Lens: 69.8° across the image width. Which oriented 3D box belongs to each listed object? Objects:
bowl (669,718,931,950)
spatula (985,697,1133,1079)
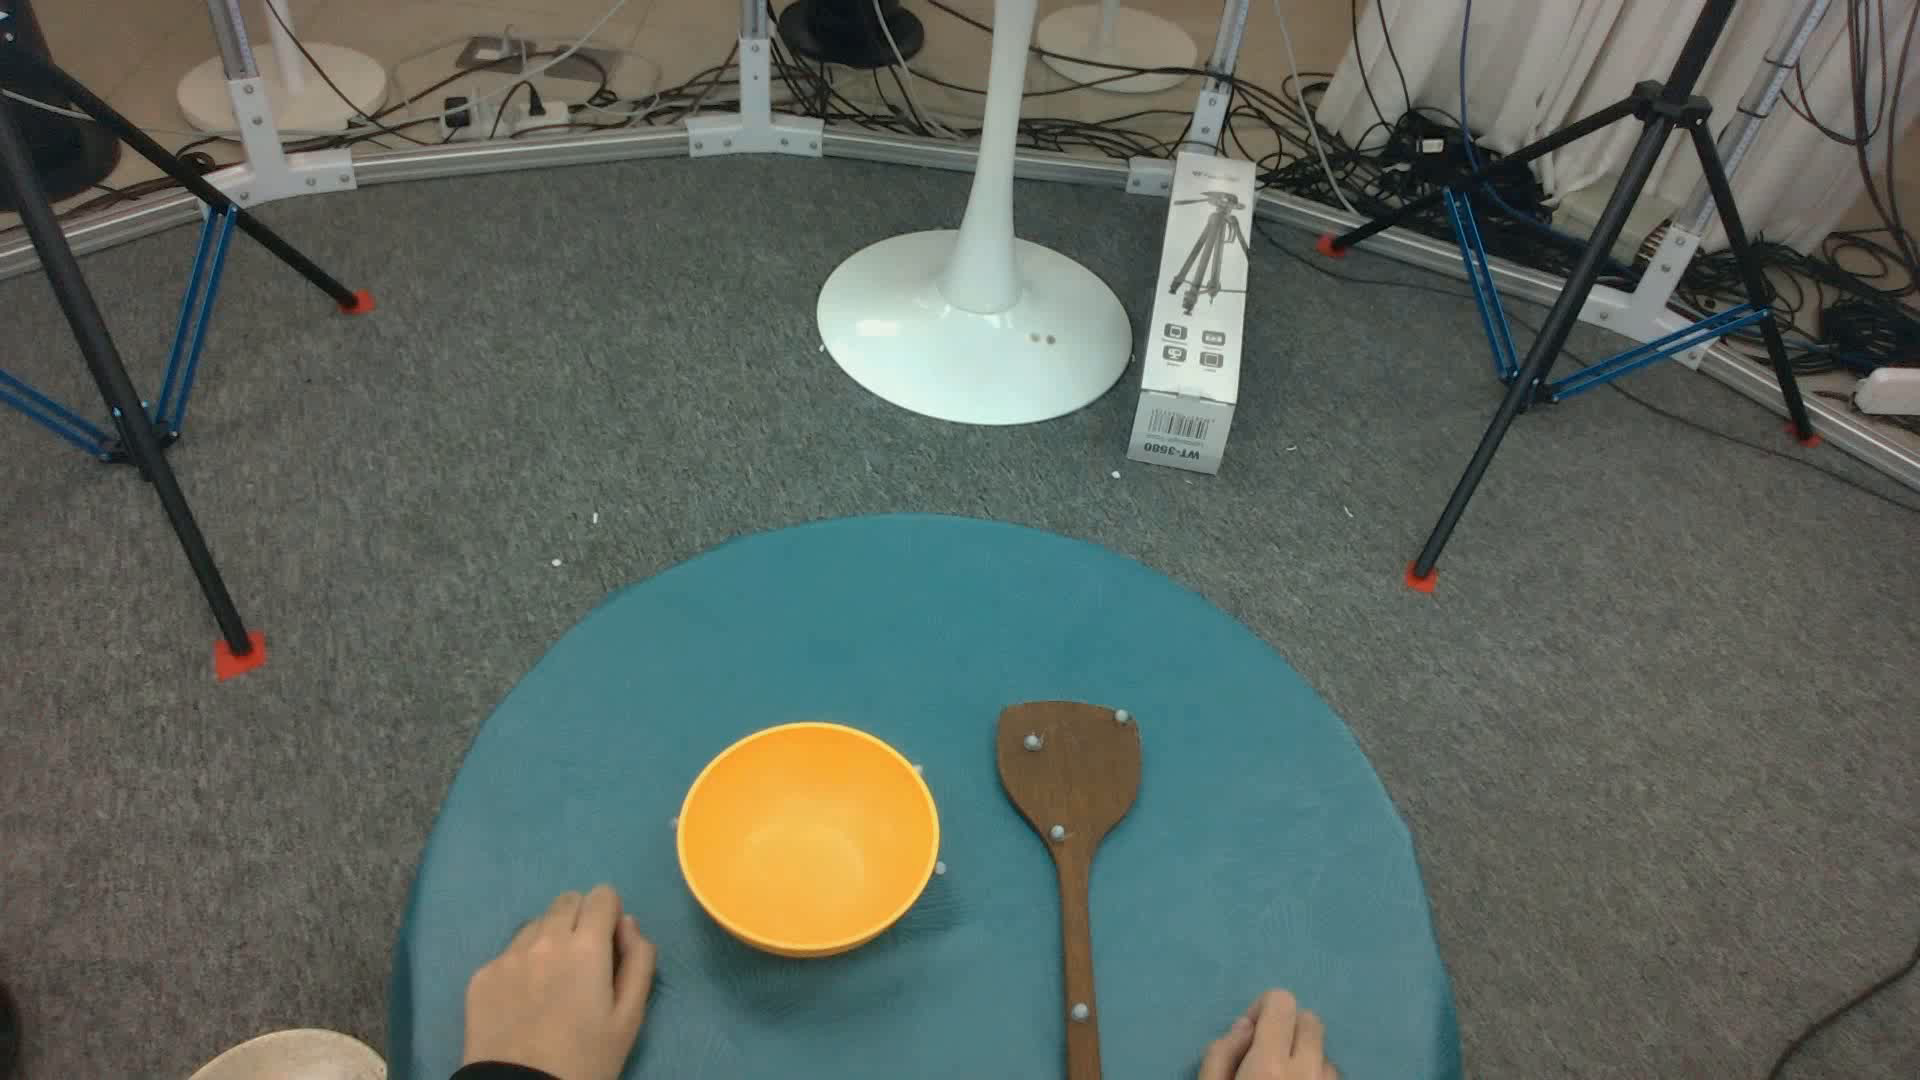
[{"bbox_3d":[-0.090,0.177,0.787,0.145,0.060,0.146,3,46,-3],"label":"bowl"},{"bbox_3d":[0.062,0.245,0.774,0.096,0.015,0.388,5,46,-4],"label":"spatula"}]
